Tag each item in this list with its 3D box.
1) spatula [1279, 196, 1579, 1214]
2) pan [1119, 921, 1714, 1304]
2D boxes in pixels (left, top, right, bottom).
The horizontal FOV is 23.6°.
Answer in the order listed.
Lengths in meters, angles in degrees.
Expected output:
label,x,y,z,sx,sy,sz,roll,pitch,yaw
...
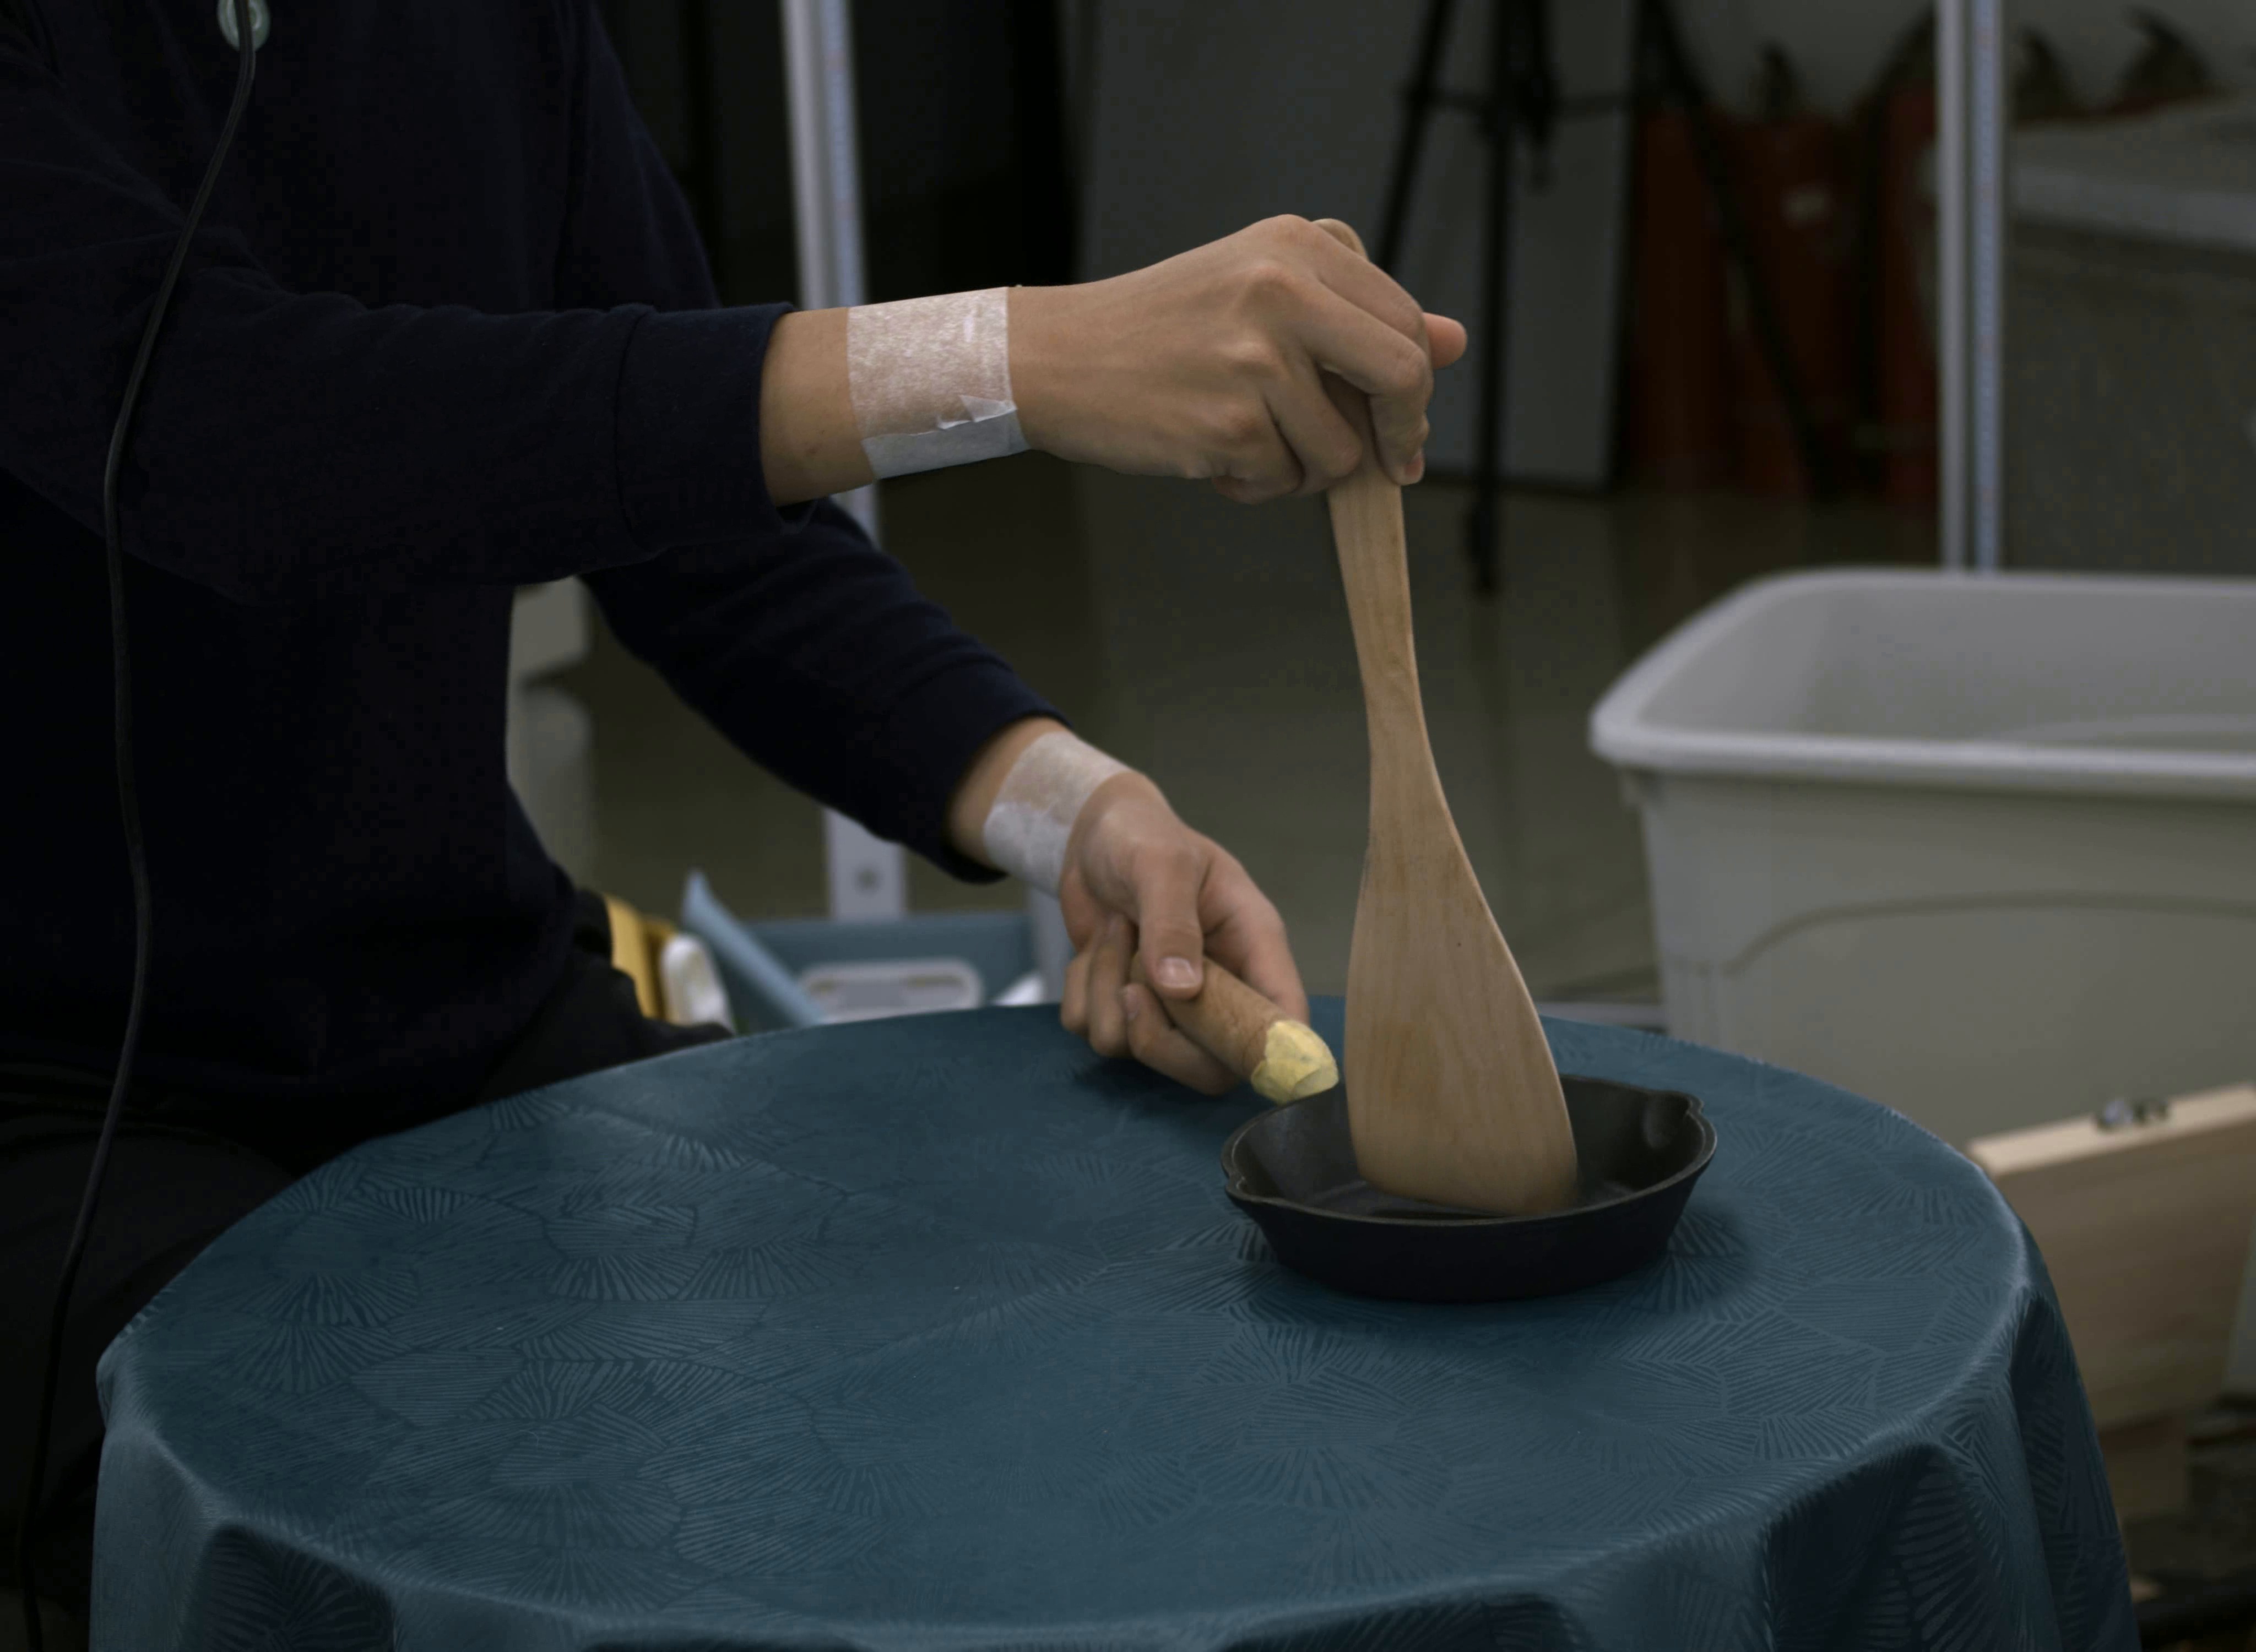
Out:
label,x,y,z,sx,sy,sz,roll,pitch,yaw
spatula,0.083,-0.032,1.688,0.080,0.331,0.016,-5,8,29
pan,0.073,0.090,1.769,0.165,0.050,0.327,-10,16,-22
